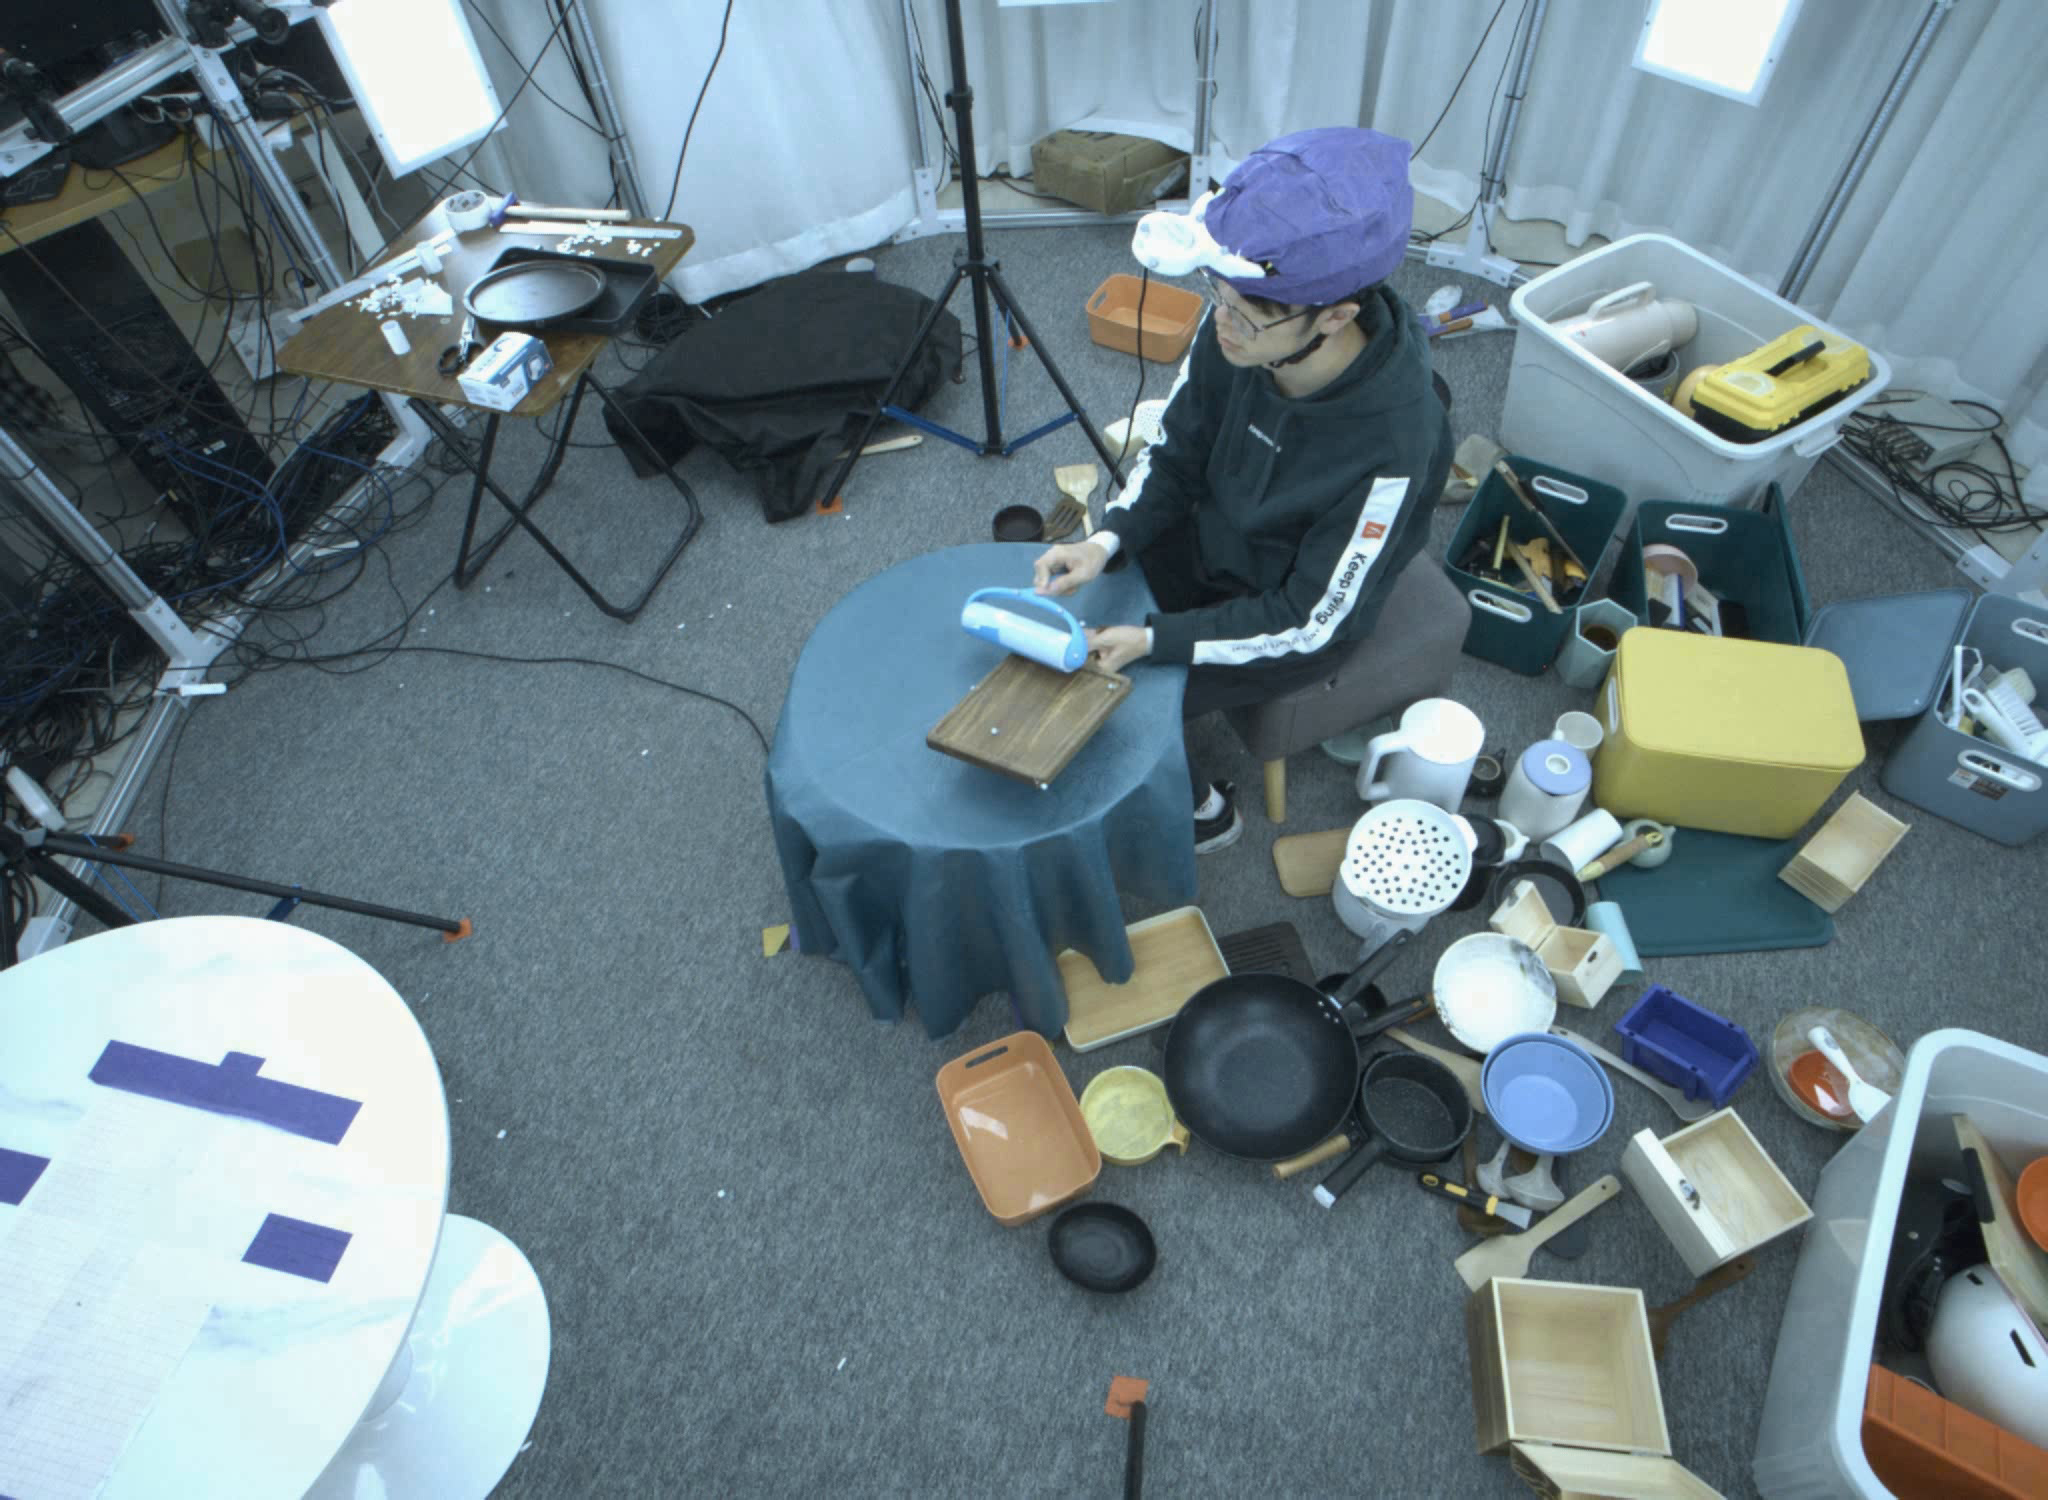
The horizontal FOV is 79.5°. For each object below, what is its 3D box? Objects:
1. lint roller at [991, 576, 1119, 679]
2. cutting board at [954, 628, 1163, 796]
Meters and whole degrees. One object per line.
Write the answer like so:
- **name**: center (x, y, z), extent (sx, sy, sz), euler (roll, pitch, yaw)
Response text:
- **lint roller**: center (0.073, -0.206, 1.813), extent (0.224, 0.069, 0.180), euler (22, 67, 32)
- **cutting board**: center (0.078, -0.074, 1.747), extent (0.197, 0.023, 0.354), euler (22, 47, 25)
